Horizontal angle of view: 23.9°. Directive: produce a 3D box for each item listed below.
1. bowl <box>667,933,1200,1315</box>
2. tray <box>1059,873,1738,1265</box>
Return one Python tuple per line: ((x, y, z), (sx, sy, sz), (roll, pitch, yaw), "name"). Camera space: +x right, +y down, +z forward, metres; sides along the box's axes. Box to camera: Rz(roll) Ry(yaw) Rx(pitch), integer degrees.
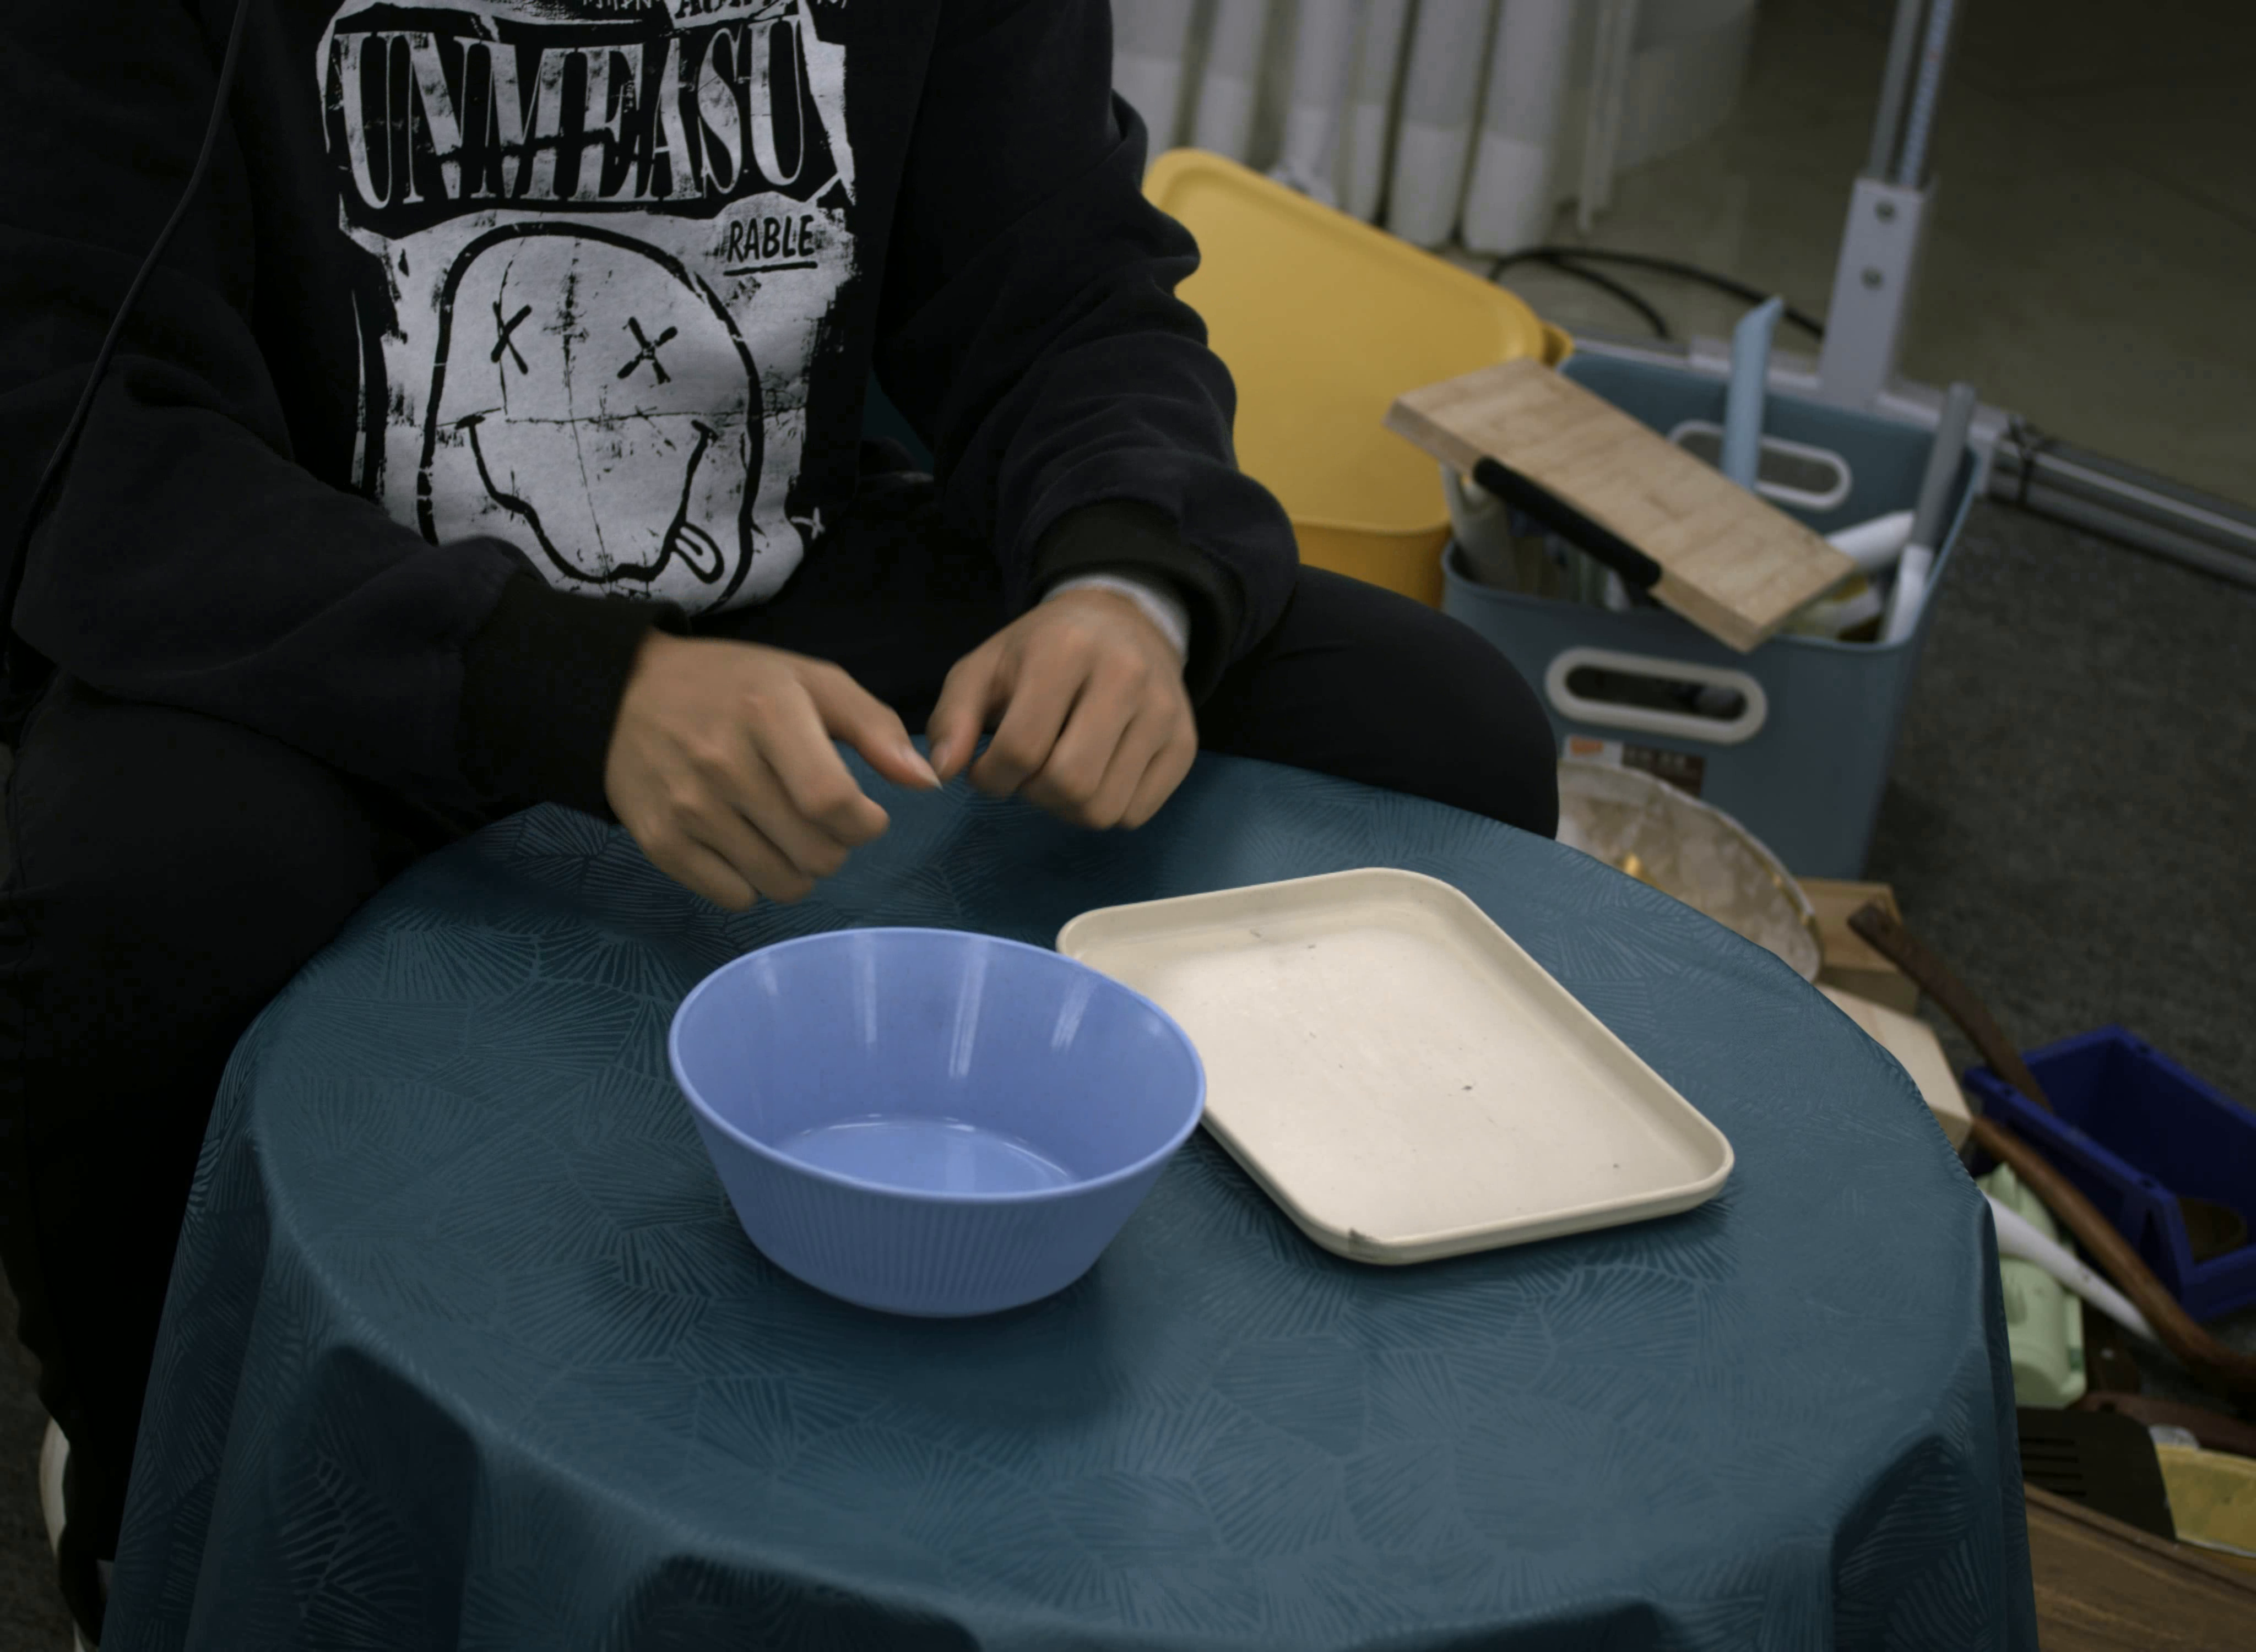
((-0.066, 0.104, 1.746), (0.175, 0.070, 0.177), (6, 26, -3), "bowl")
((0.092, 0.084, 1.880), (0.170, 0.017, 0.242), (-7, 30, -26), "tray")
